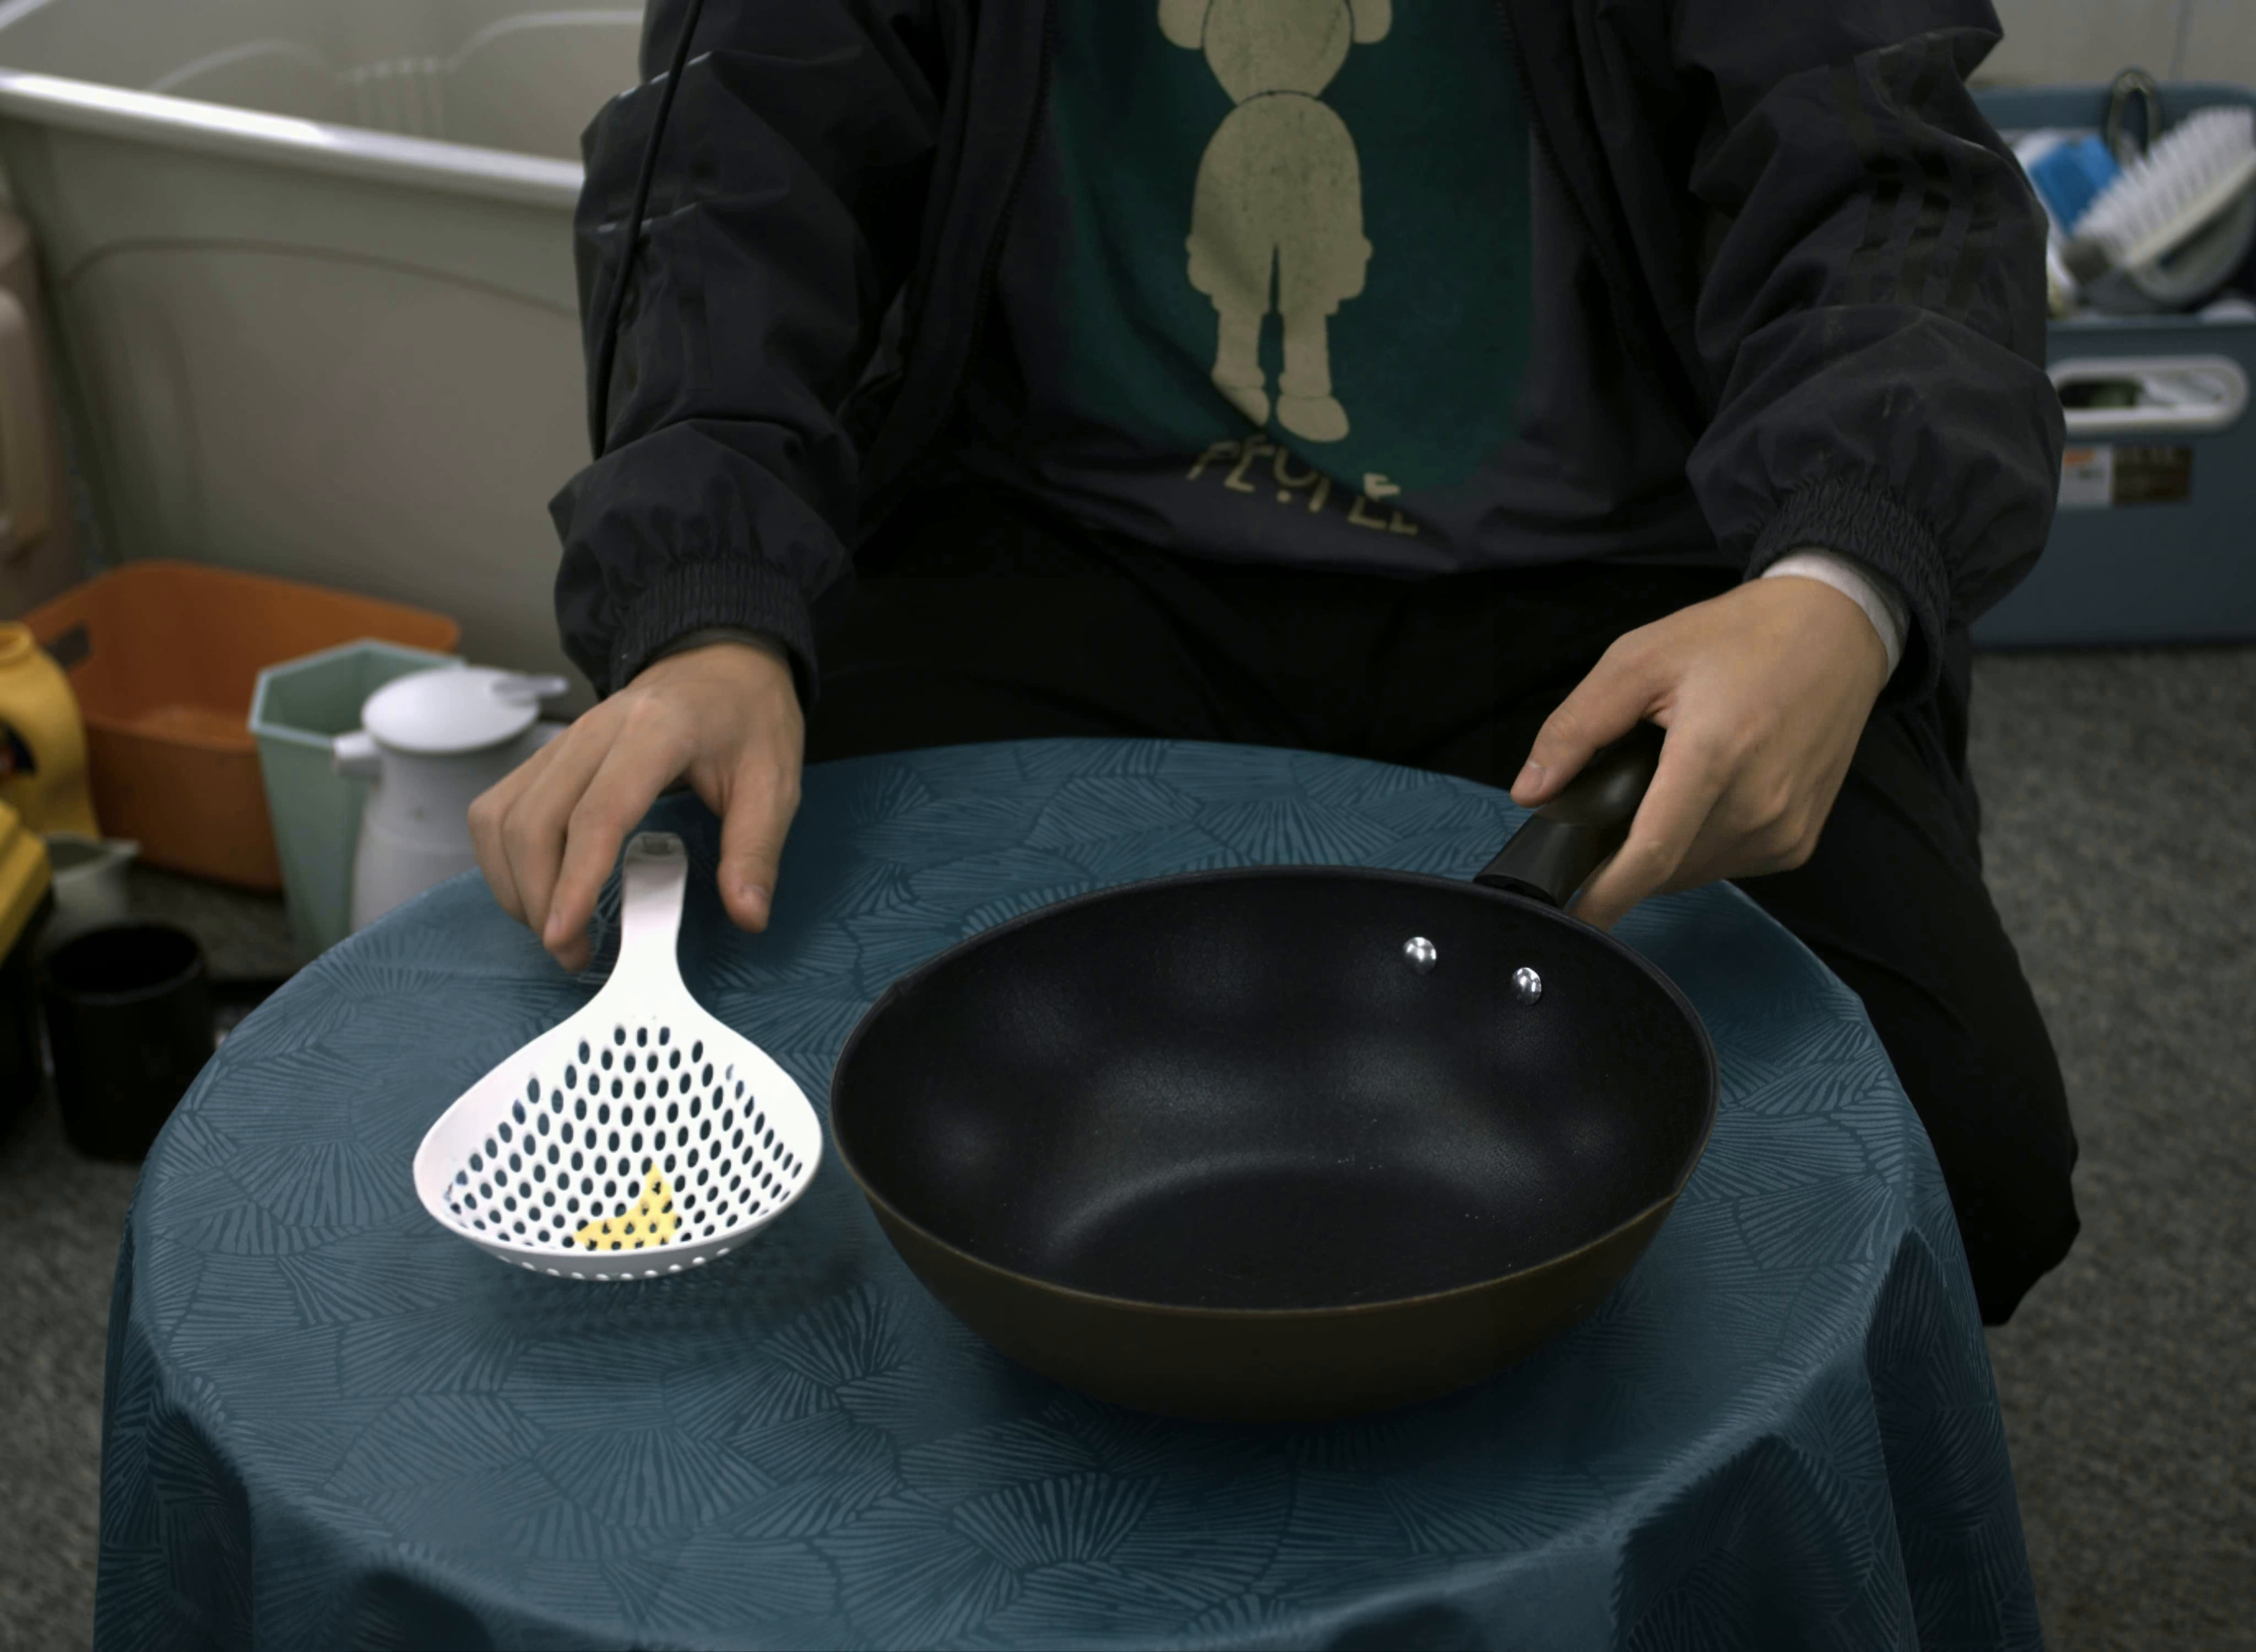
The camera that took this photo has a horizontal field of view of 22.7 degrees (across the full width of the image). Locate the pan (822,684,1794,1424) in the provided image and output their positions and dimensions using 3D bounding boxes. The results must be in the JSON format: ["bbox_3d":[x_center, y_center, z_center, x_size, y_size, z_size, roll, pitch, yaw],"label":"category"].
[{"bbox_3d":[0.095,0.074,1.851,0.286,0.086,0.470,14,31,30],"label":"pan"}]

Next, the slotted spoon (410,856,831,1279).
[{"bbox_3d":[-0.167,0.071,1.929,0.136,0.050,0.353,-2,27,-1],"label":"slotted spoon"}]
